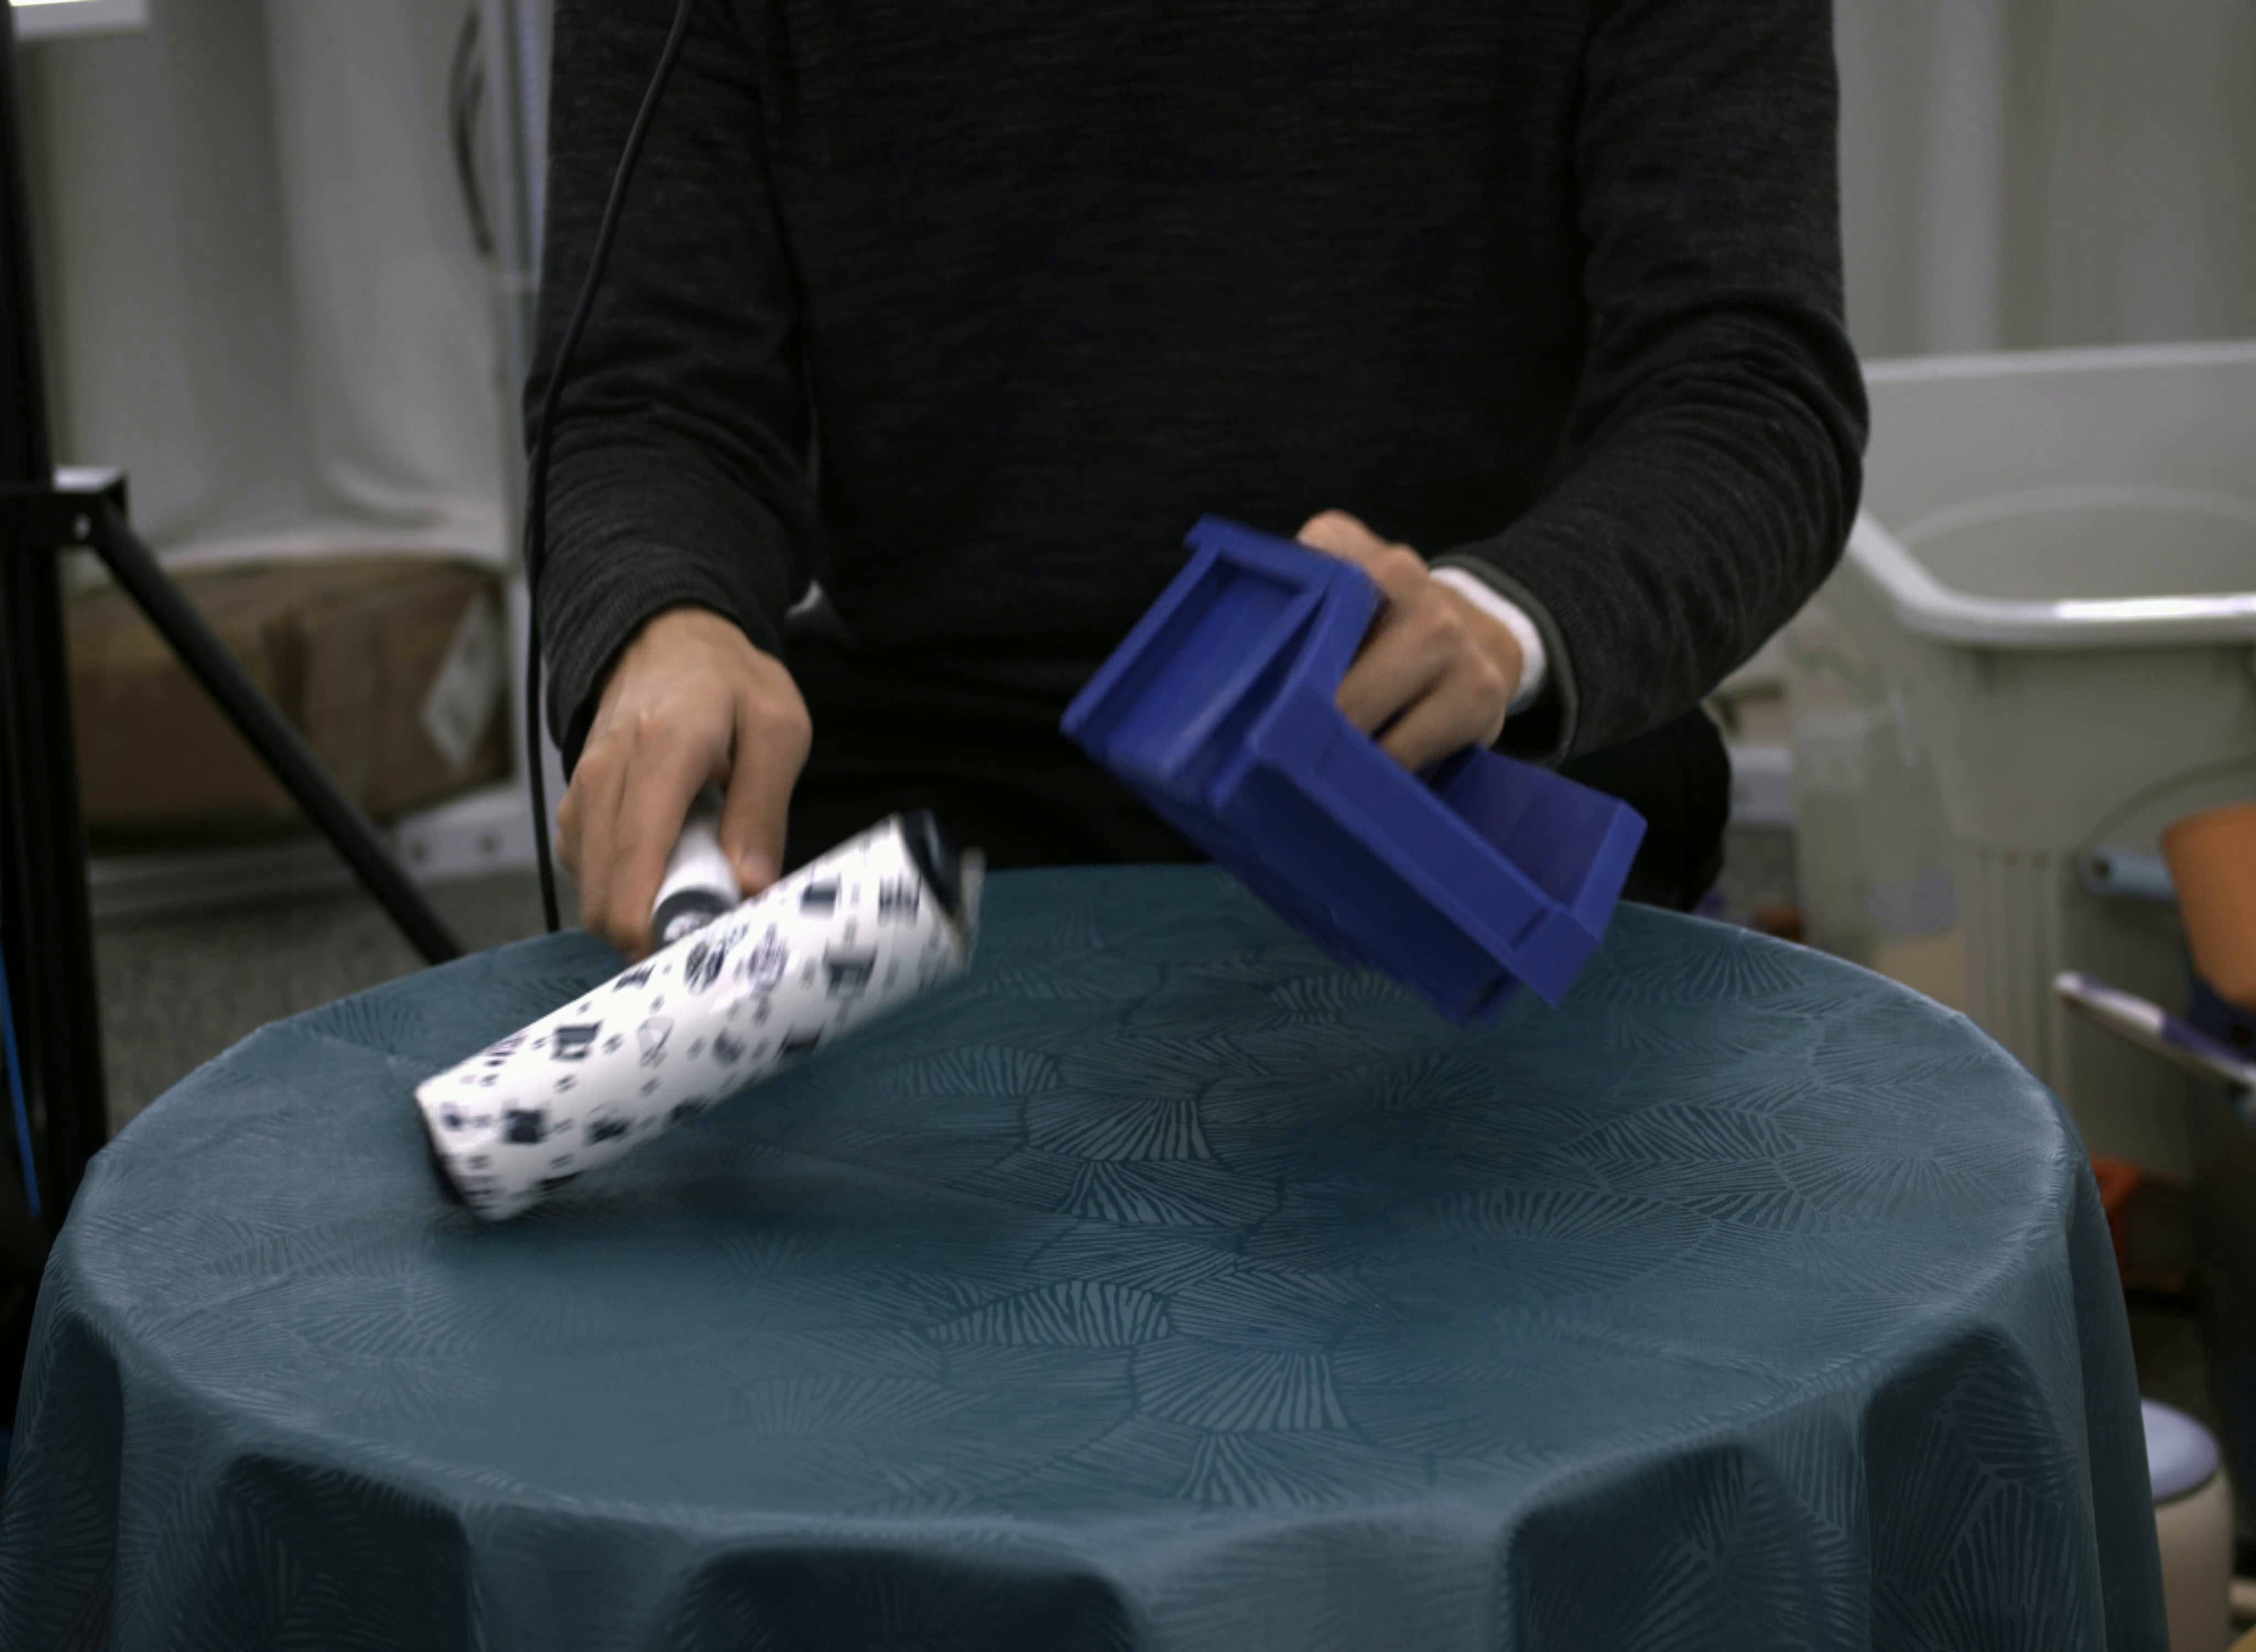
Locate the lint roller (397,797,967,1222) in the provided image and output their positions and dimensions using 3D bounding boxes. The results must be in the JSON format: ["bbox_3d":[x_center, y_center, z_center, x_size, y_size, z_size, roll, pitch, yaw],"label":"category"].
[{"bbox_3d":[-0.139,0.031,1.646,0.176,0.050,0.249,-26,19,4],"label":"lint roller"}]

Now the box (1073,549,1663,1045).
[{"bbox_3d":[0.071,-0.008,1.554,0.123,0.082,0.182,40,-7,-16],"label":"box"}]
